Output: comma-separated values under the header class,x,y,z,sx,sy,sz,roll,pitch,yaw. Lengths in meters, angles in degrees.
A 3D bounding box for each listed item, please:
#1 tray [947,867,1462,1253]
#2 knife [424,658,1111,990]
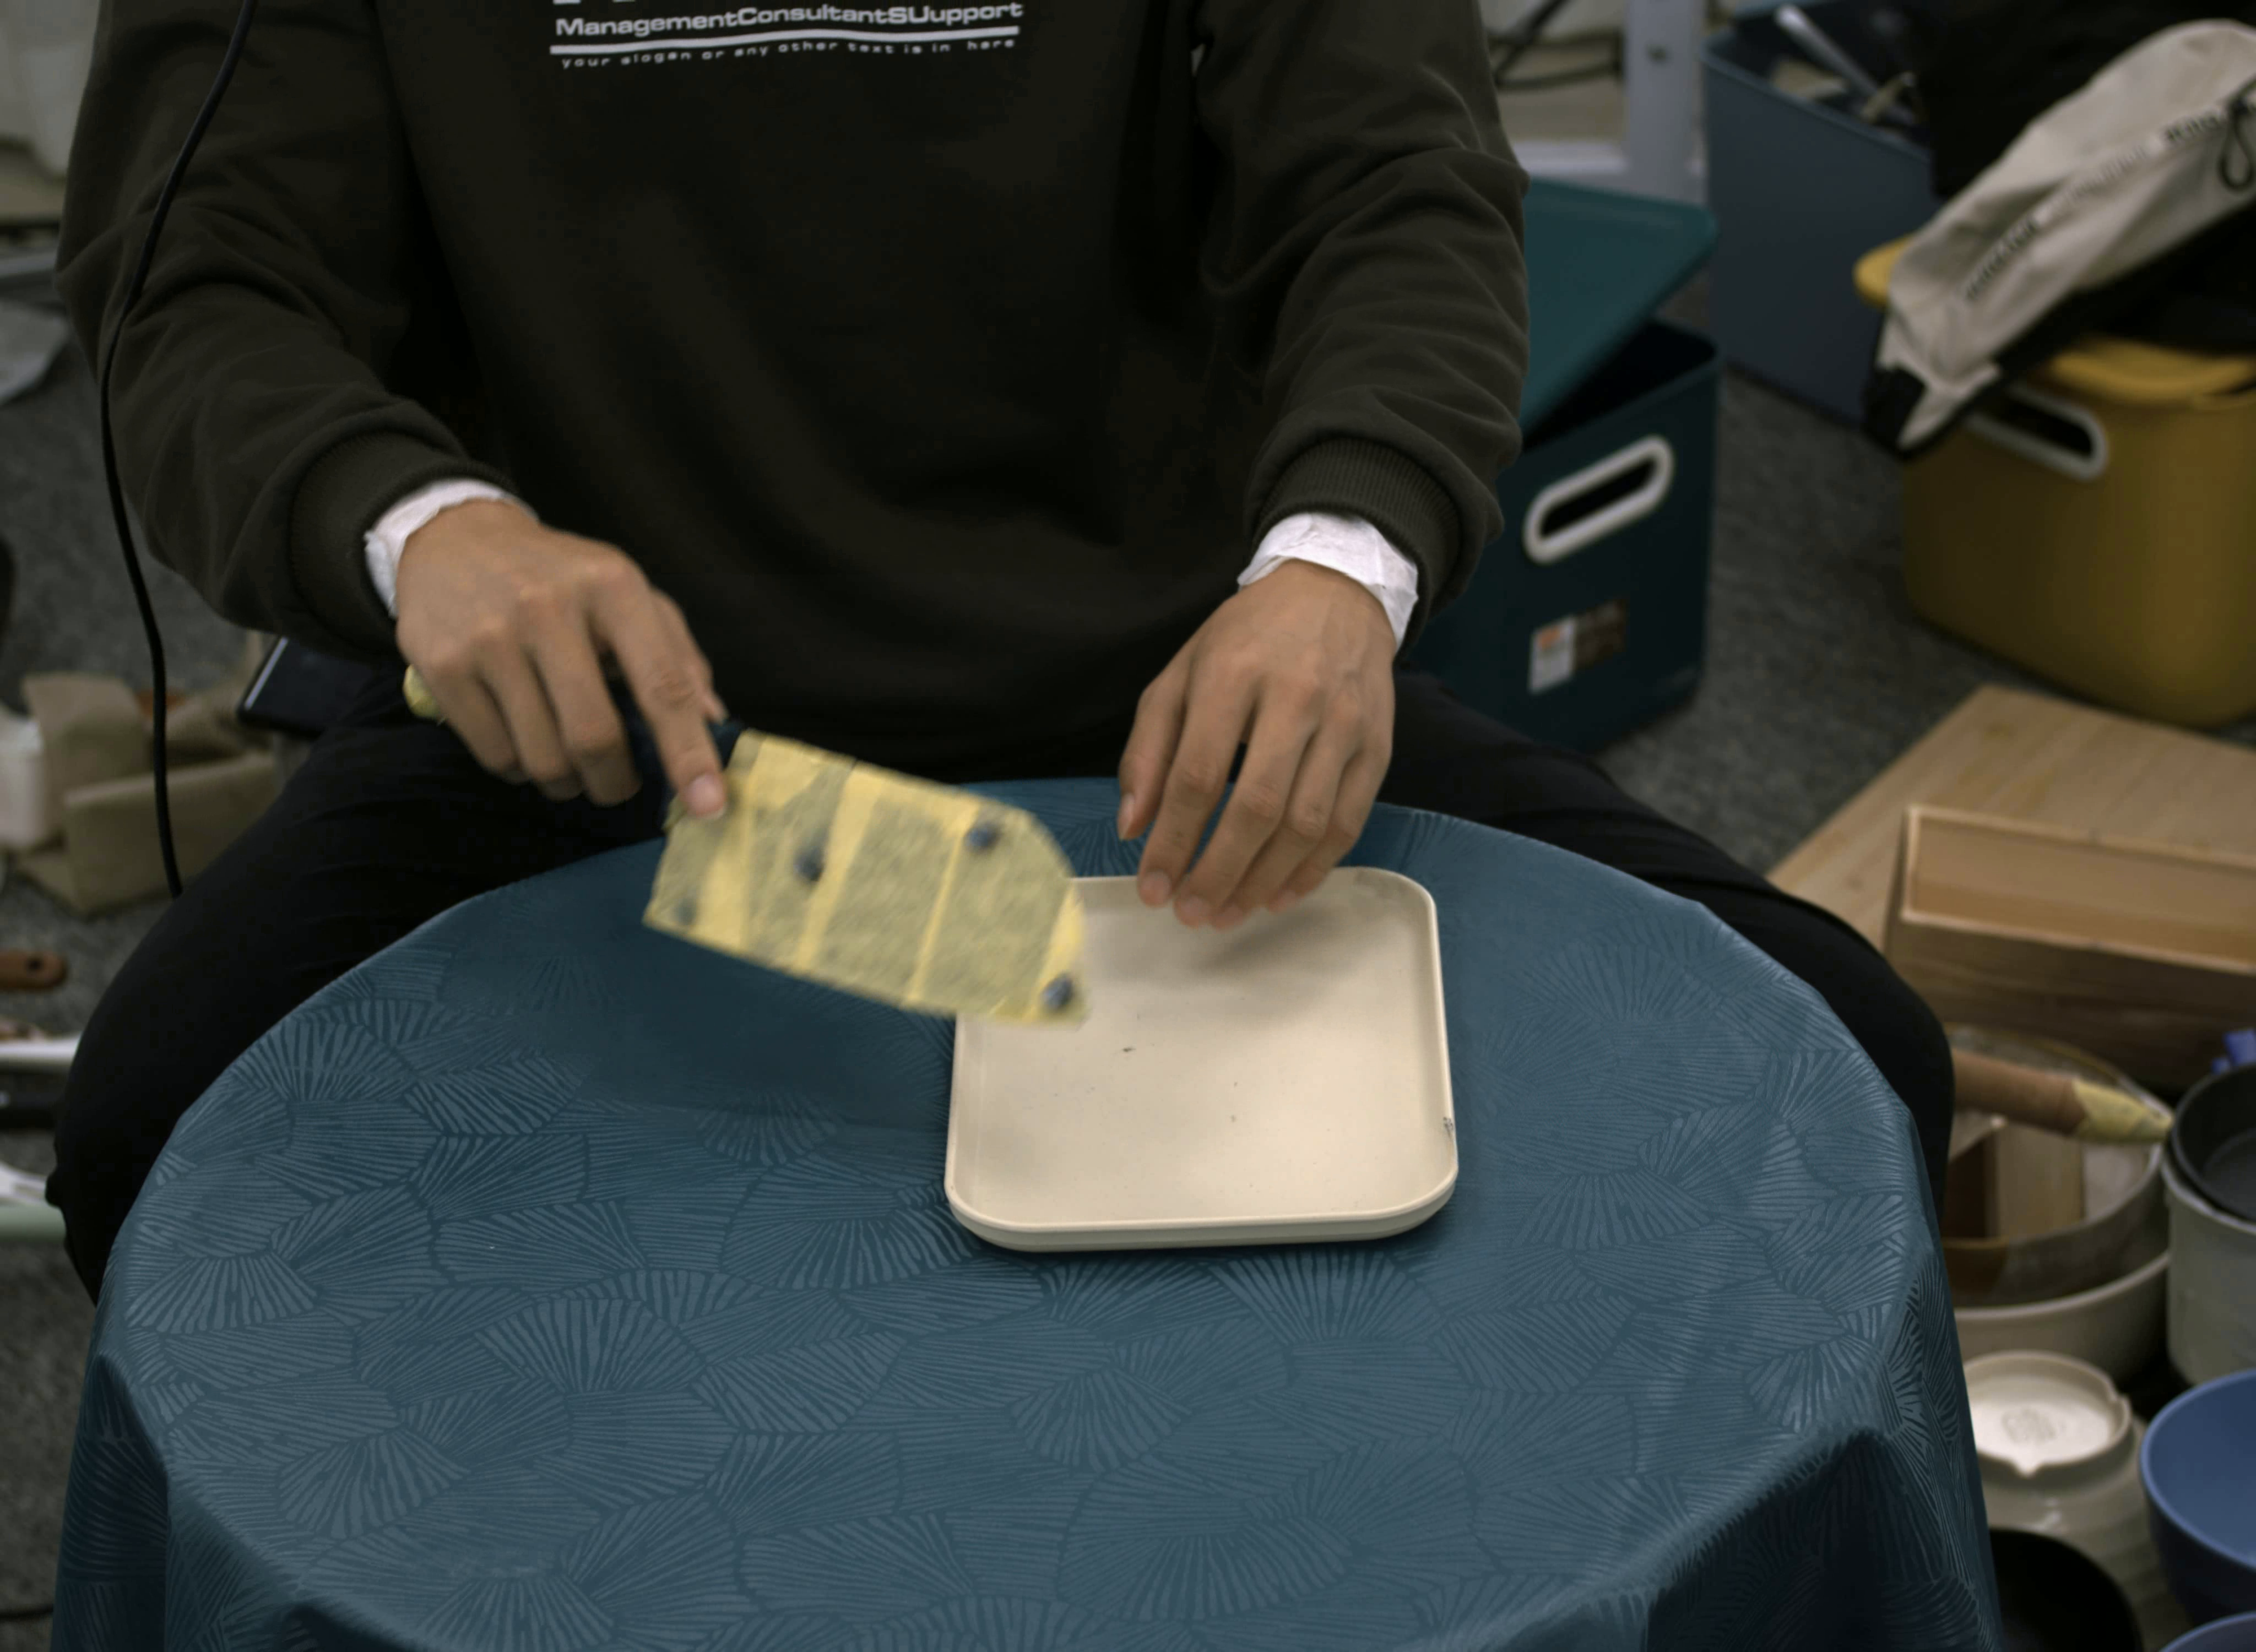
class,x,y,z,sx,sy,sz,roll,pitch,yaw
tray,0.025,0.079,1.921,0.170,0.017,0.243,-2,27,1
knife,-0.126,-0.003,1.899,0.288,0.081,0.027,18,-3,29
